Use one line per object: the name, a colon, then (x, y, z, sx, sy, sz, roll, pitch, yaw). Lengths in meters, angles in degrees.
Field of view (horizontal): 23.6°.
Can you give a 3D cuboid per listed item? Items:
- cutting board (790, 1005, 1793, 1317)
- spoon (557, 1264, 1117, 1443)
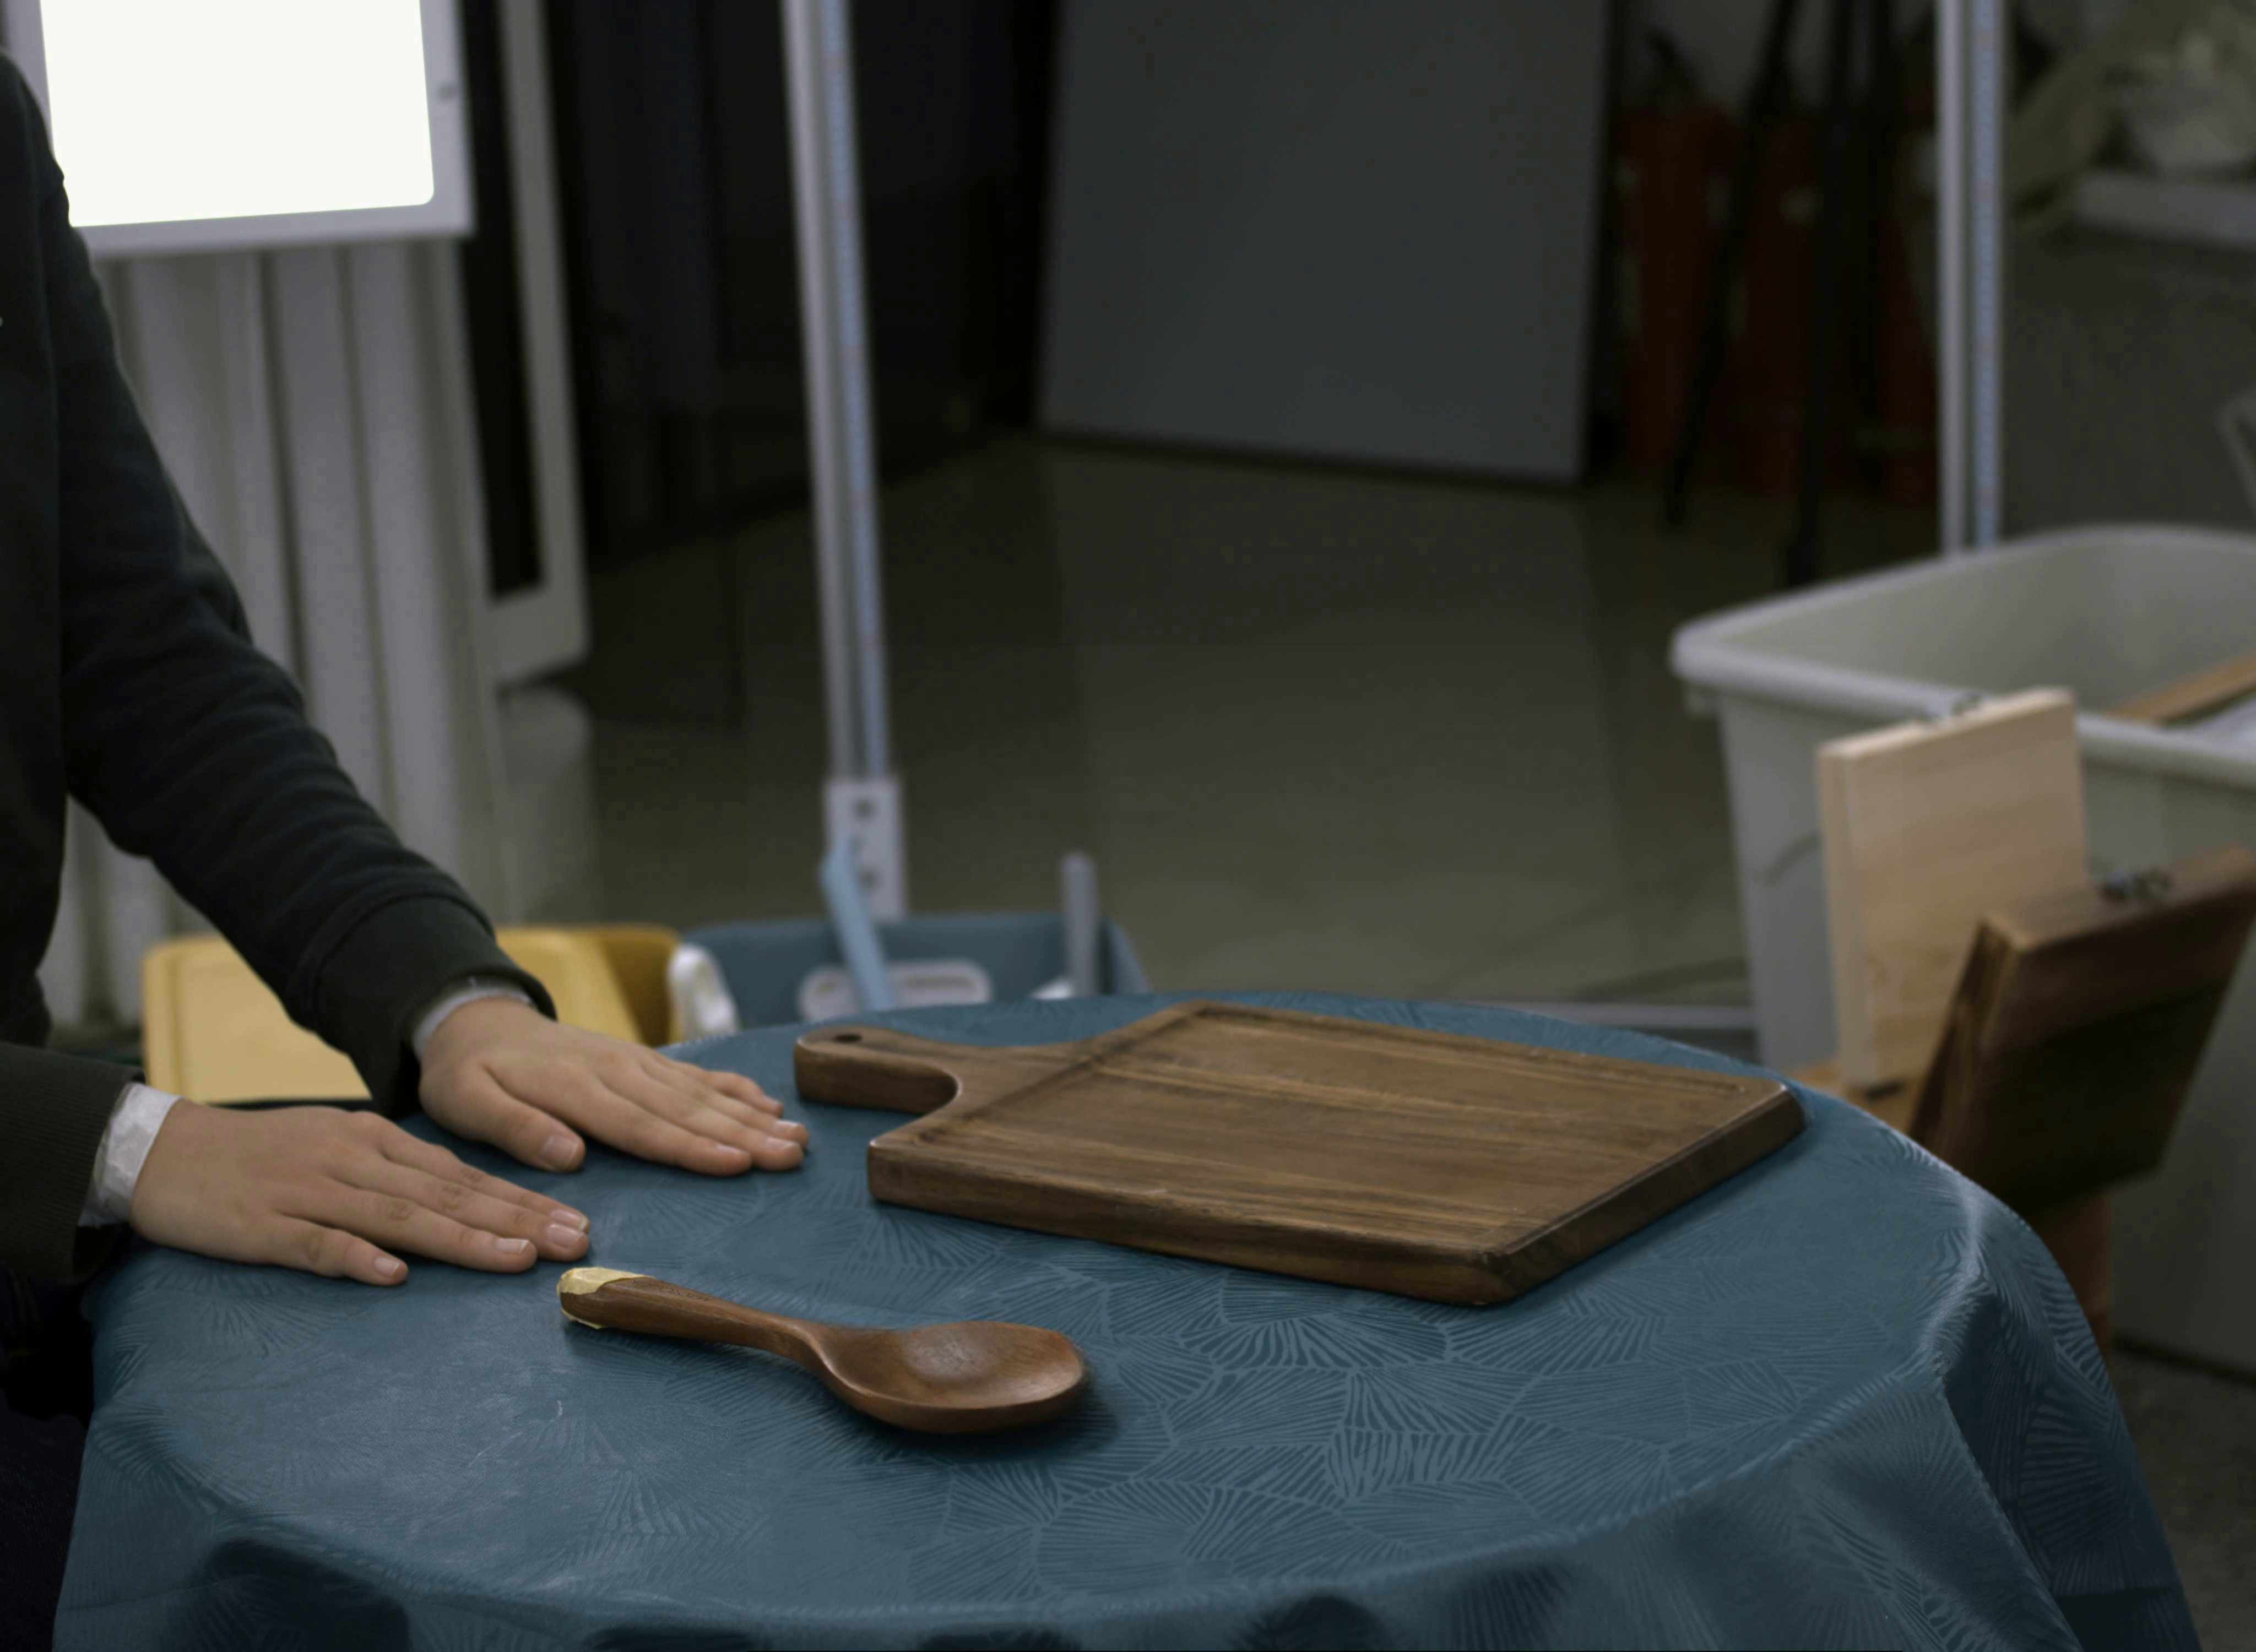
cutting board: (0.028, 0.102, 1.806, 0.354, 0.023, 0.197, 6, 18, 37)
spoon: (-0.092, 0.157, 1.618, 0.217, 0.017, 0.074, 9, 21, 41)
